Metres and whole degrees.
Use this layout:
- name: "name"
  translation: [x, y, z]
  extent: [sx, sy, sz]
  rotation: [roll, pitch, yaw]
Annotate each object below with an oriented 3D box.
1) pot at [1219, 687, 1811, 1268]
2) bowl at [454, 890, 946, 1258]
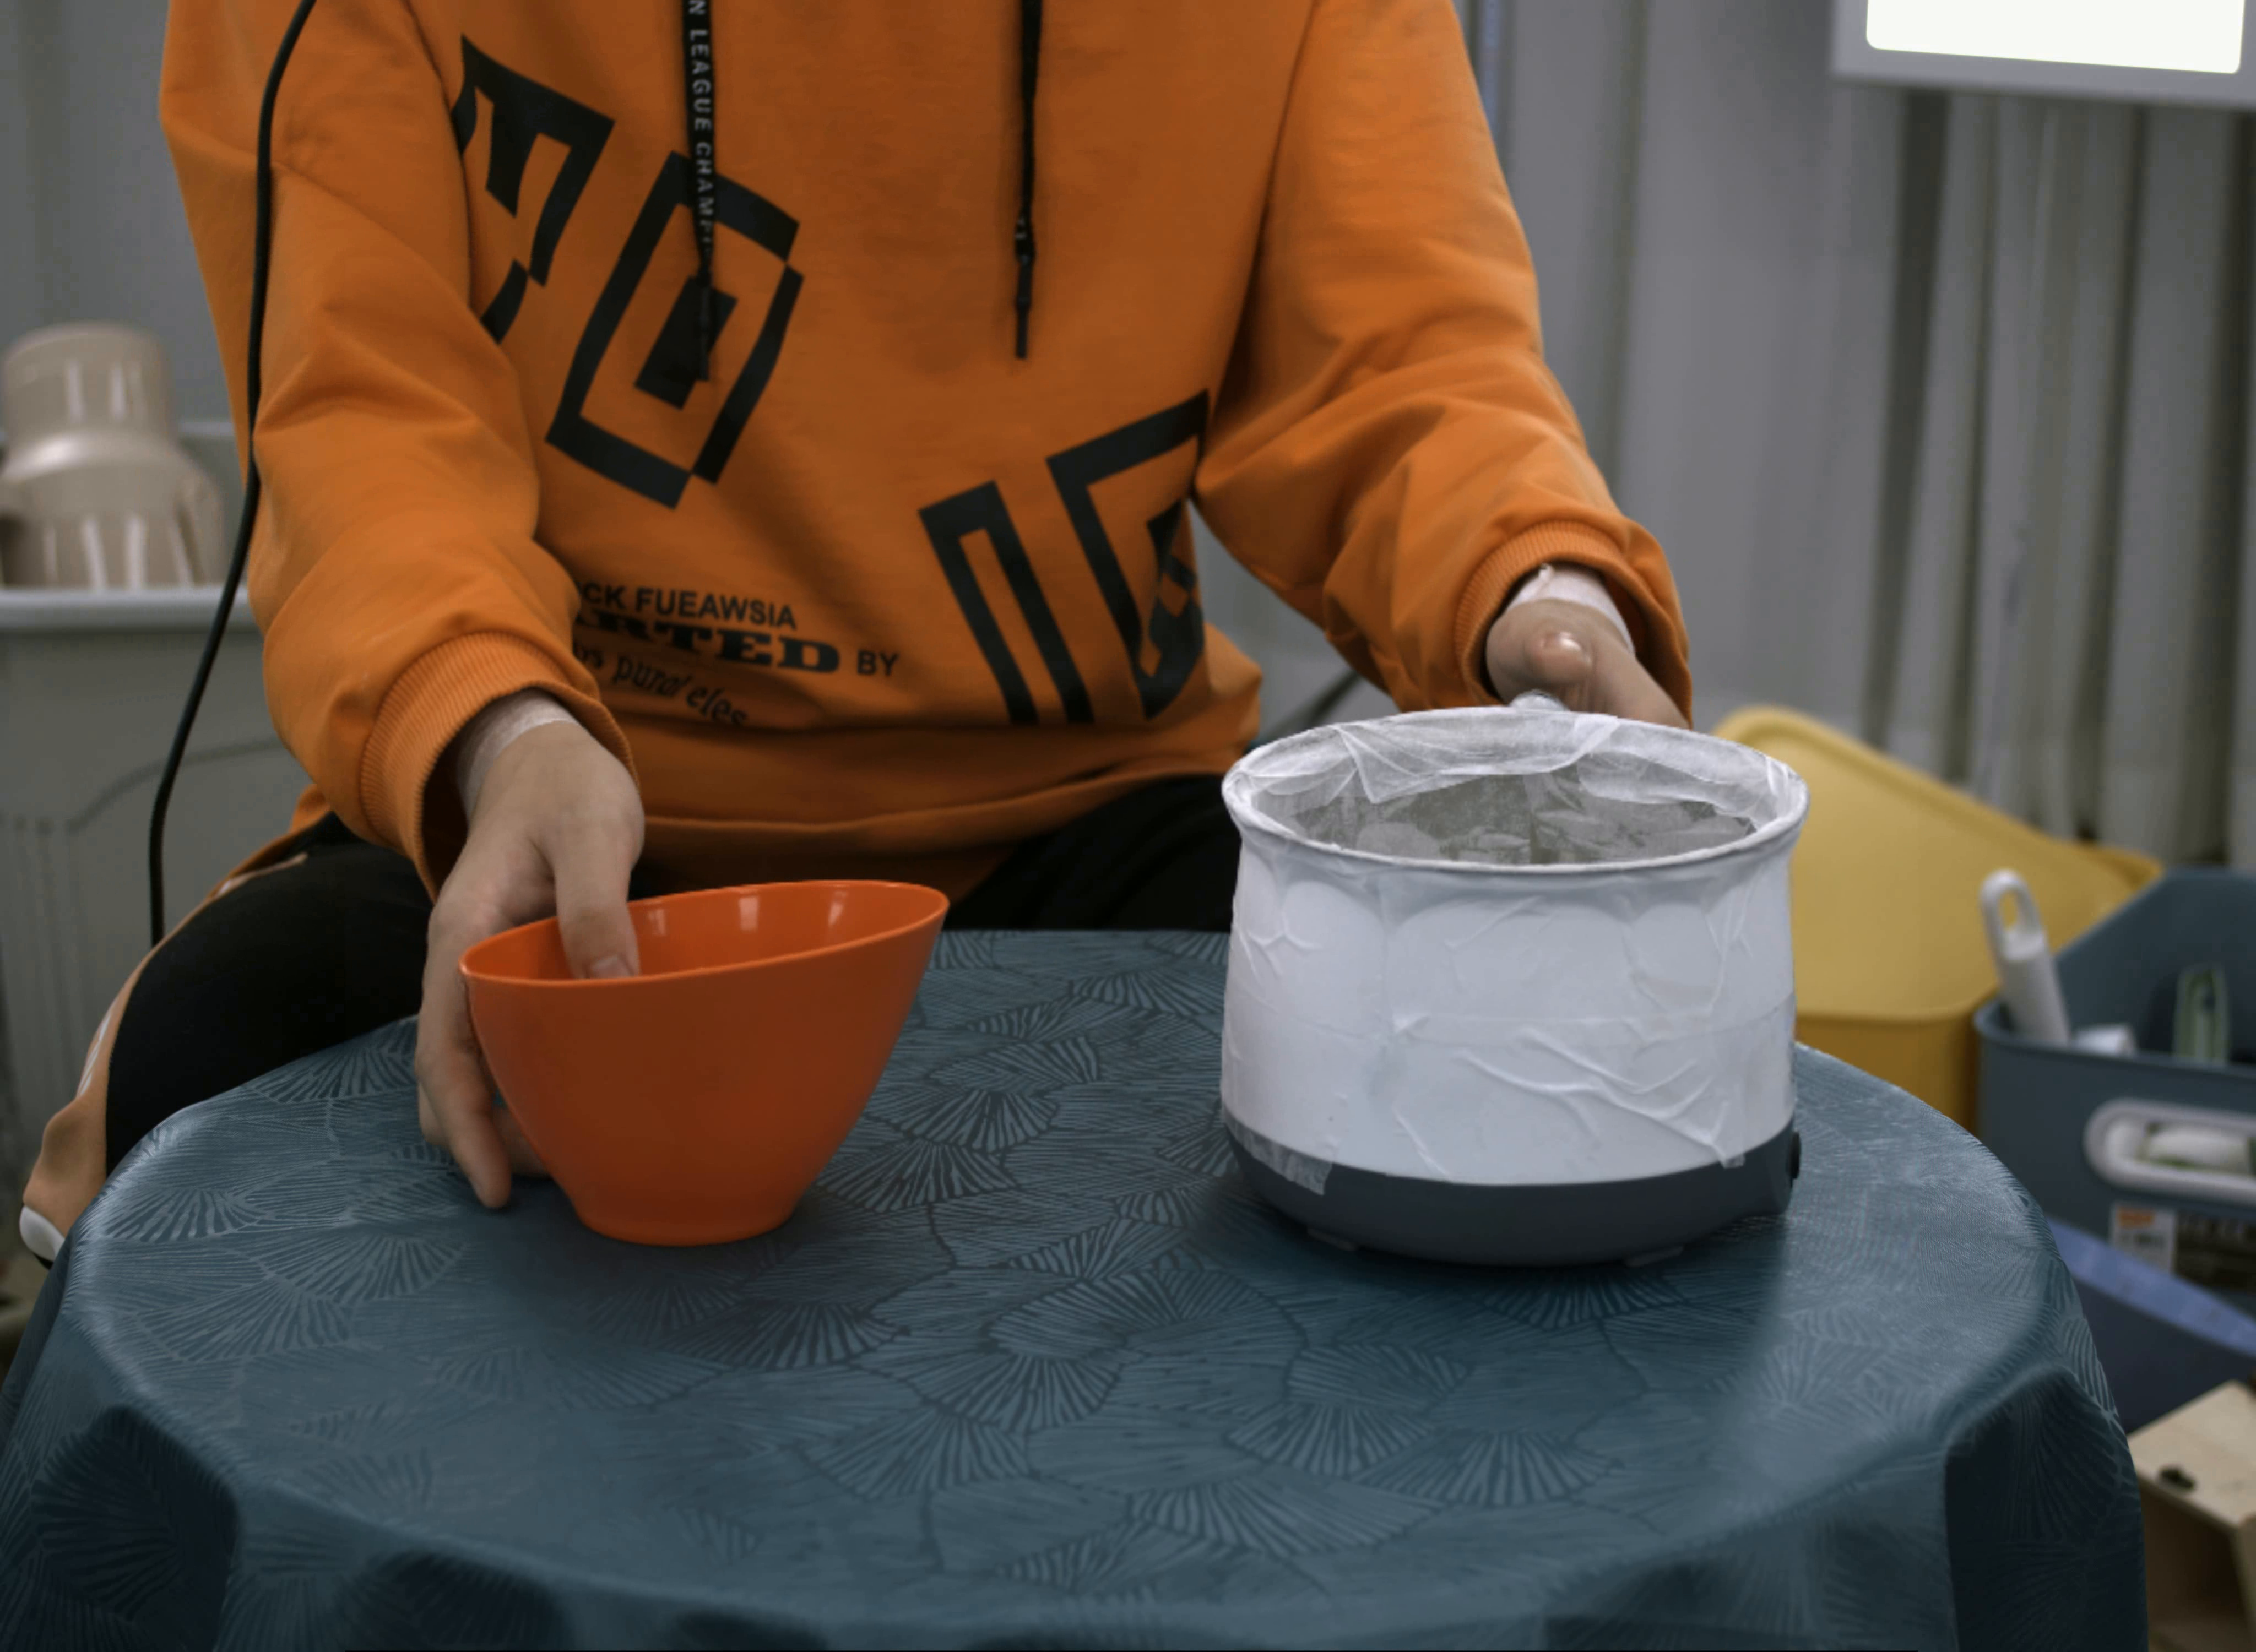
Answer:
- name: "pot"
  translation: [0.119, 0.041, 1.624]
  extent: [0.178, 0.138, 0.233]
  rotation: [3, 16, 6]
- name: "bowl"
  translation: [-0.128, 0.073, 1.581]
  extent: [0.147, 0.105, 0.147]
  rotation: [0, 15, 1]
